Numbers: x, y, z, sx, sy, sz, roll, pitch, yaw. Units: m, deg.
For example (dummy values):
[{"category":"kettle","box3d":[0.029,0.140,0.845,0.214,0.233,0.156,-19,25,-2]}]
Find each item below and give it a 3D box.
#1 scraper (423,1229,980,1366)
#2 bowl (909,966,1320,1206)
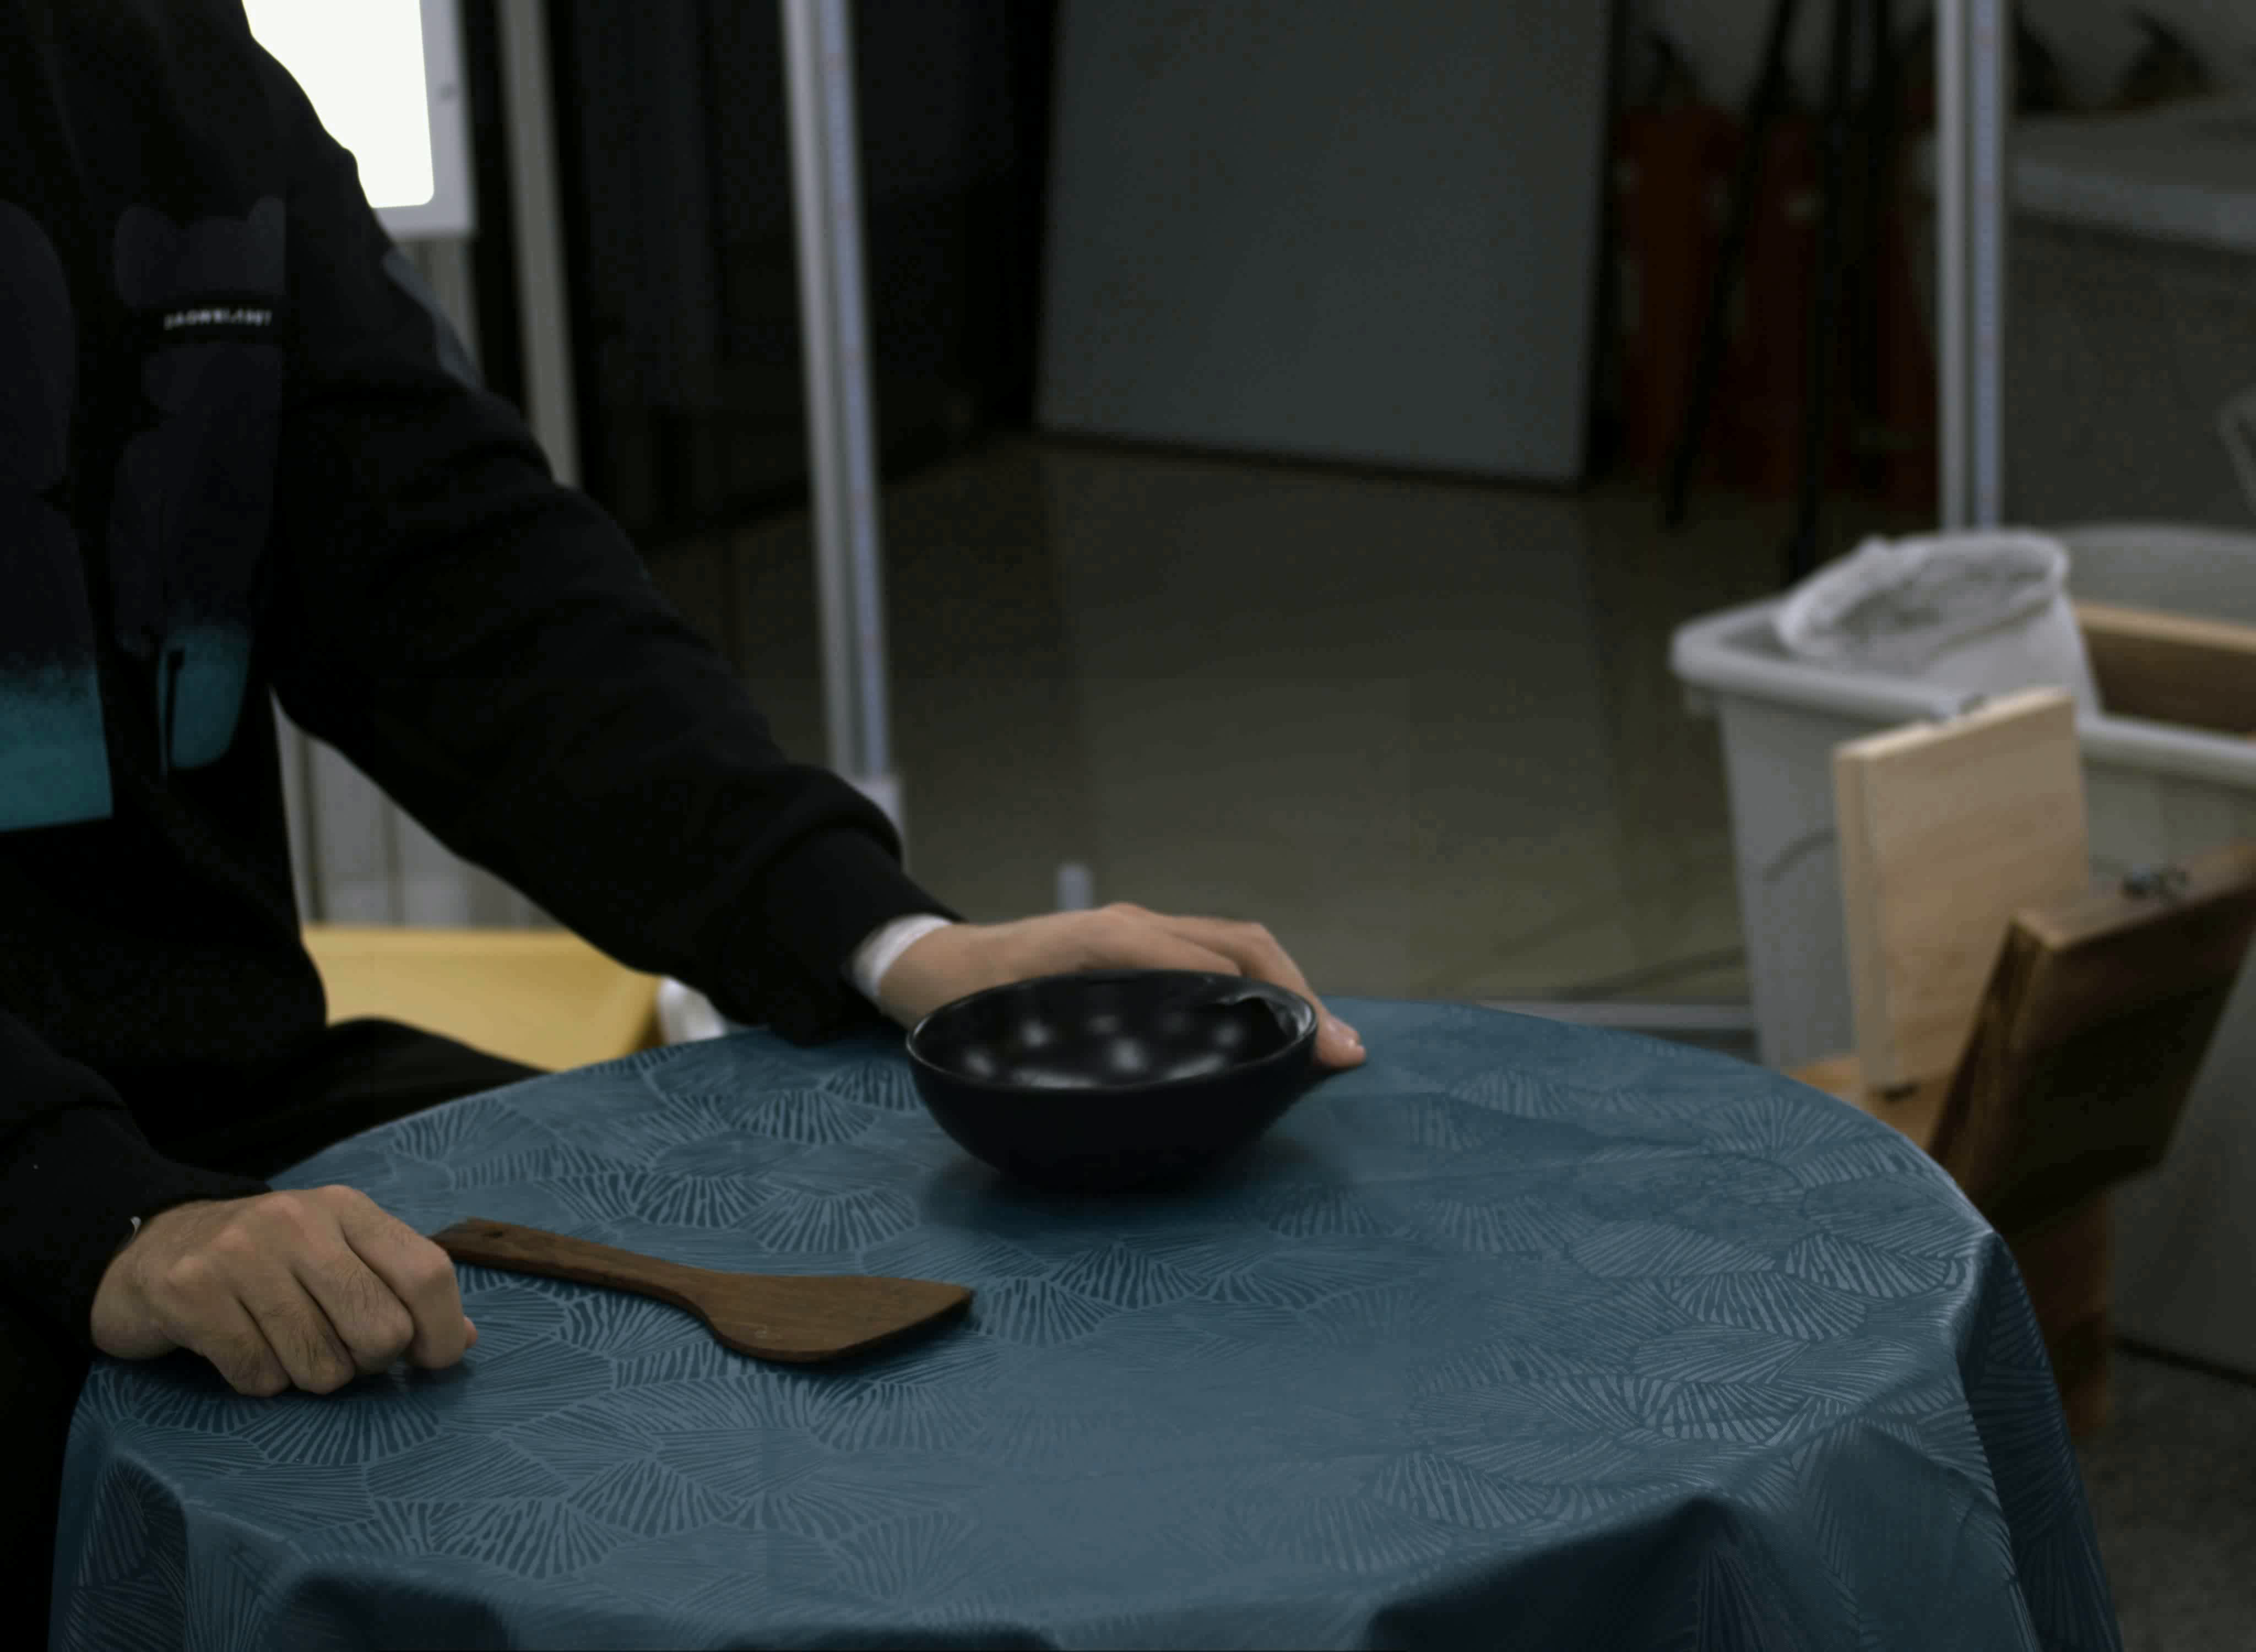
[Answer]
[{"category":"scraper","box3d":[-0.142,0.145,1.700,0.213,0.011,0.074,7,16,40]},{"category":"bowl","box3d":[-0.002,0.091,1.795,0.138,0.050,0.140,-7,15,1]}]
